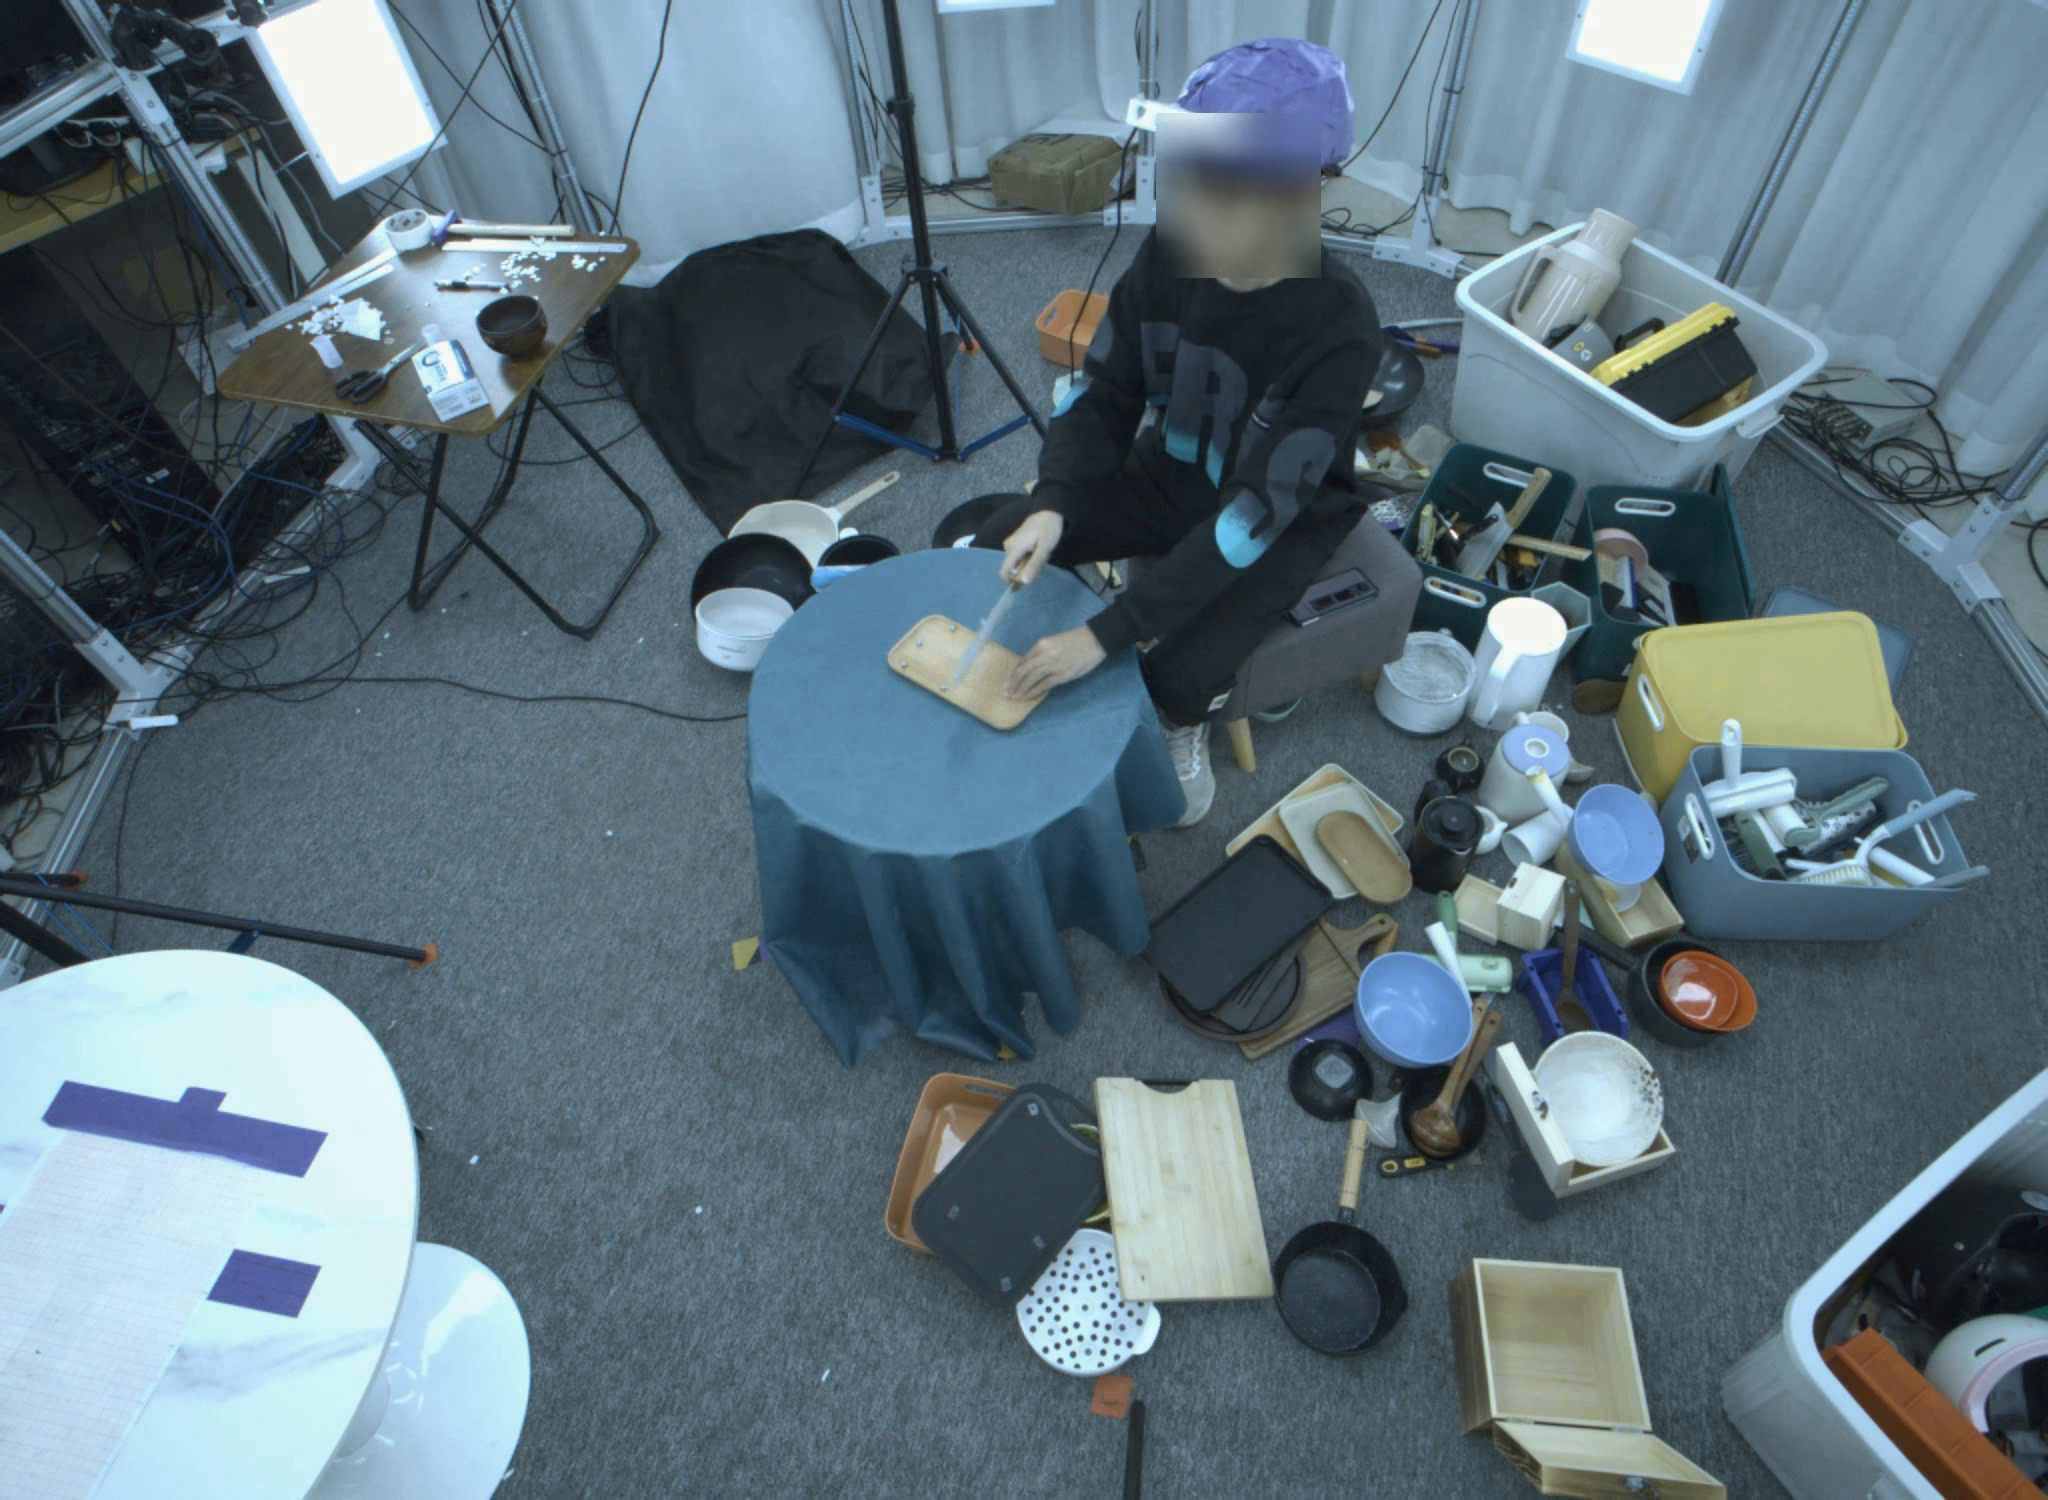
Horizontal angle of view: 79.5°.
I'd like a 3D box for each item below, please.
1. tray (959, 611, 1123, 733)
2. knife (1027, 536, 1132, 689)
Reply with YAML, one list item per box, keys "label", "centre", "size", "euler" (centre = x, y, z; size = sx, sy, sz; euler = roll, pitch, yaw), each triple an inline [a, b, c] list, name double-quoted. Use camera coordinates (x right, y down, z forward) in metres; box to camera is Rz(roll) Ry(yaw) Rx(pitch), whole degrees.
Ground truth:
- label: "tray"
  centre: [0.024, -0.120, 1.862]
  size: [0.246, 0.023, 0.131]
  euler: [36, 66, 23]
- label: "knife"
  centre: [0.081, -0.203, 1.824]
  size: [0.021, 0.093, 0.306]
  euler: [29, 55, 8]
